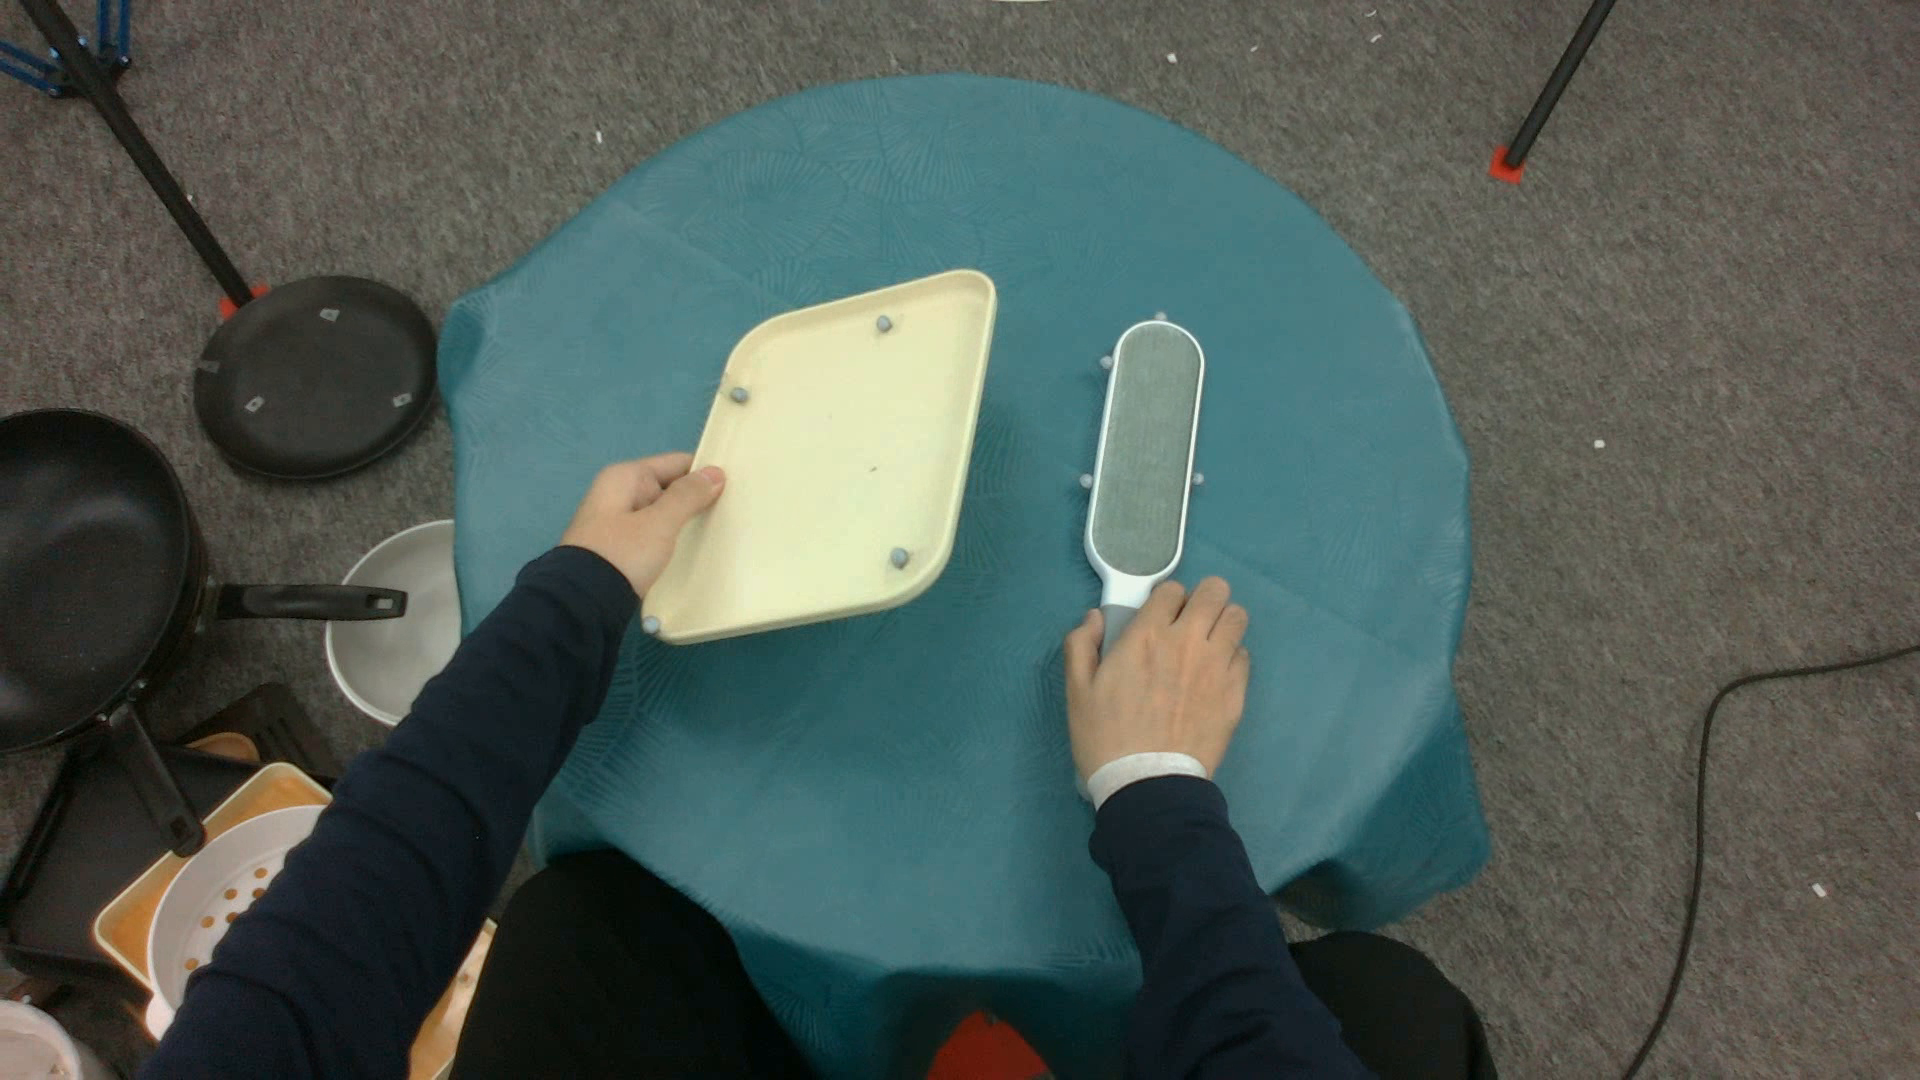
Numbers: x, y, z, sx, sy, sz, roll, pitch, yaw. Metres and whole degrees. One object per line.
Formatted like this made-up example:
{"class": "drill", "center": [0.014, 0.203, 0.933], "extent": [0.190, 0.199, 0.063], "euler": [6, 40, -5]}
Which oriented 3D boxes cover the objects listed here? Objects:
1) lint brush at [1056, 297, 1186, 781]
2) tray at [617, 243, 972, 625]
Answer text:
{"class": "lint brush", "center": [0.087, -0.012, 0.787], "extent": [0.060, 0.021, 0.310], "euler": [16, 63, -10]}
{"class": "tray", "center": [-0.079, -0.058, 0.711], "extent": [0.171, 0.017, 0.241], "euler": [-13, 44, 24]}
